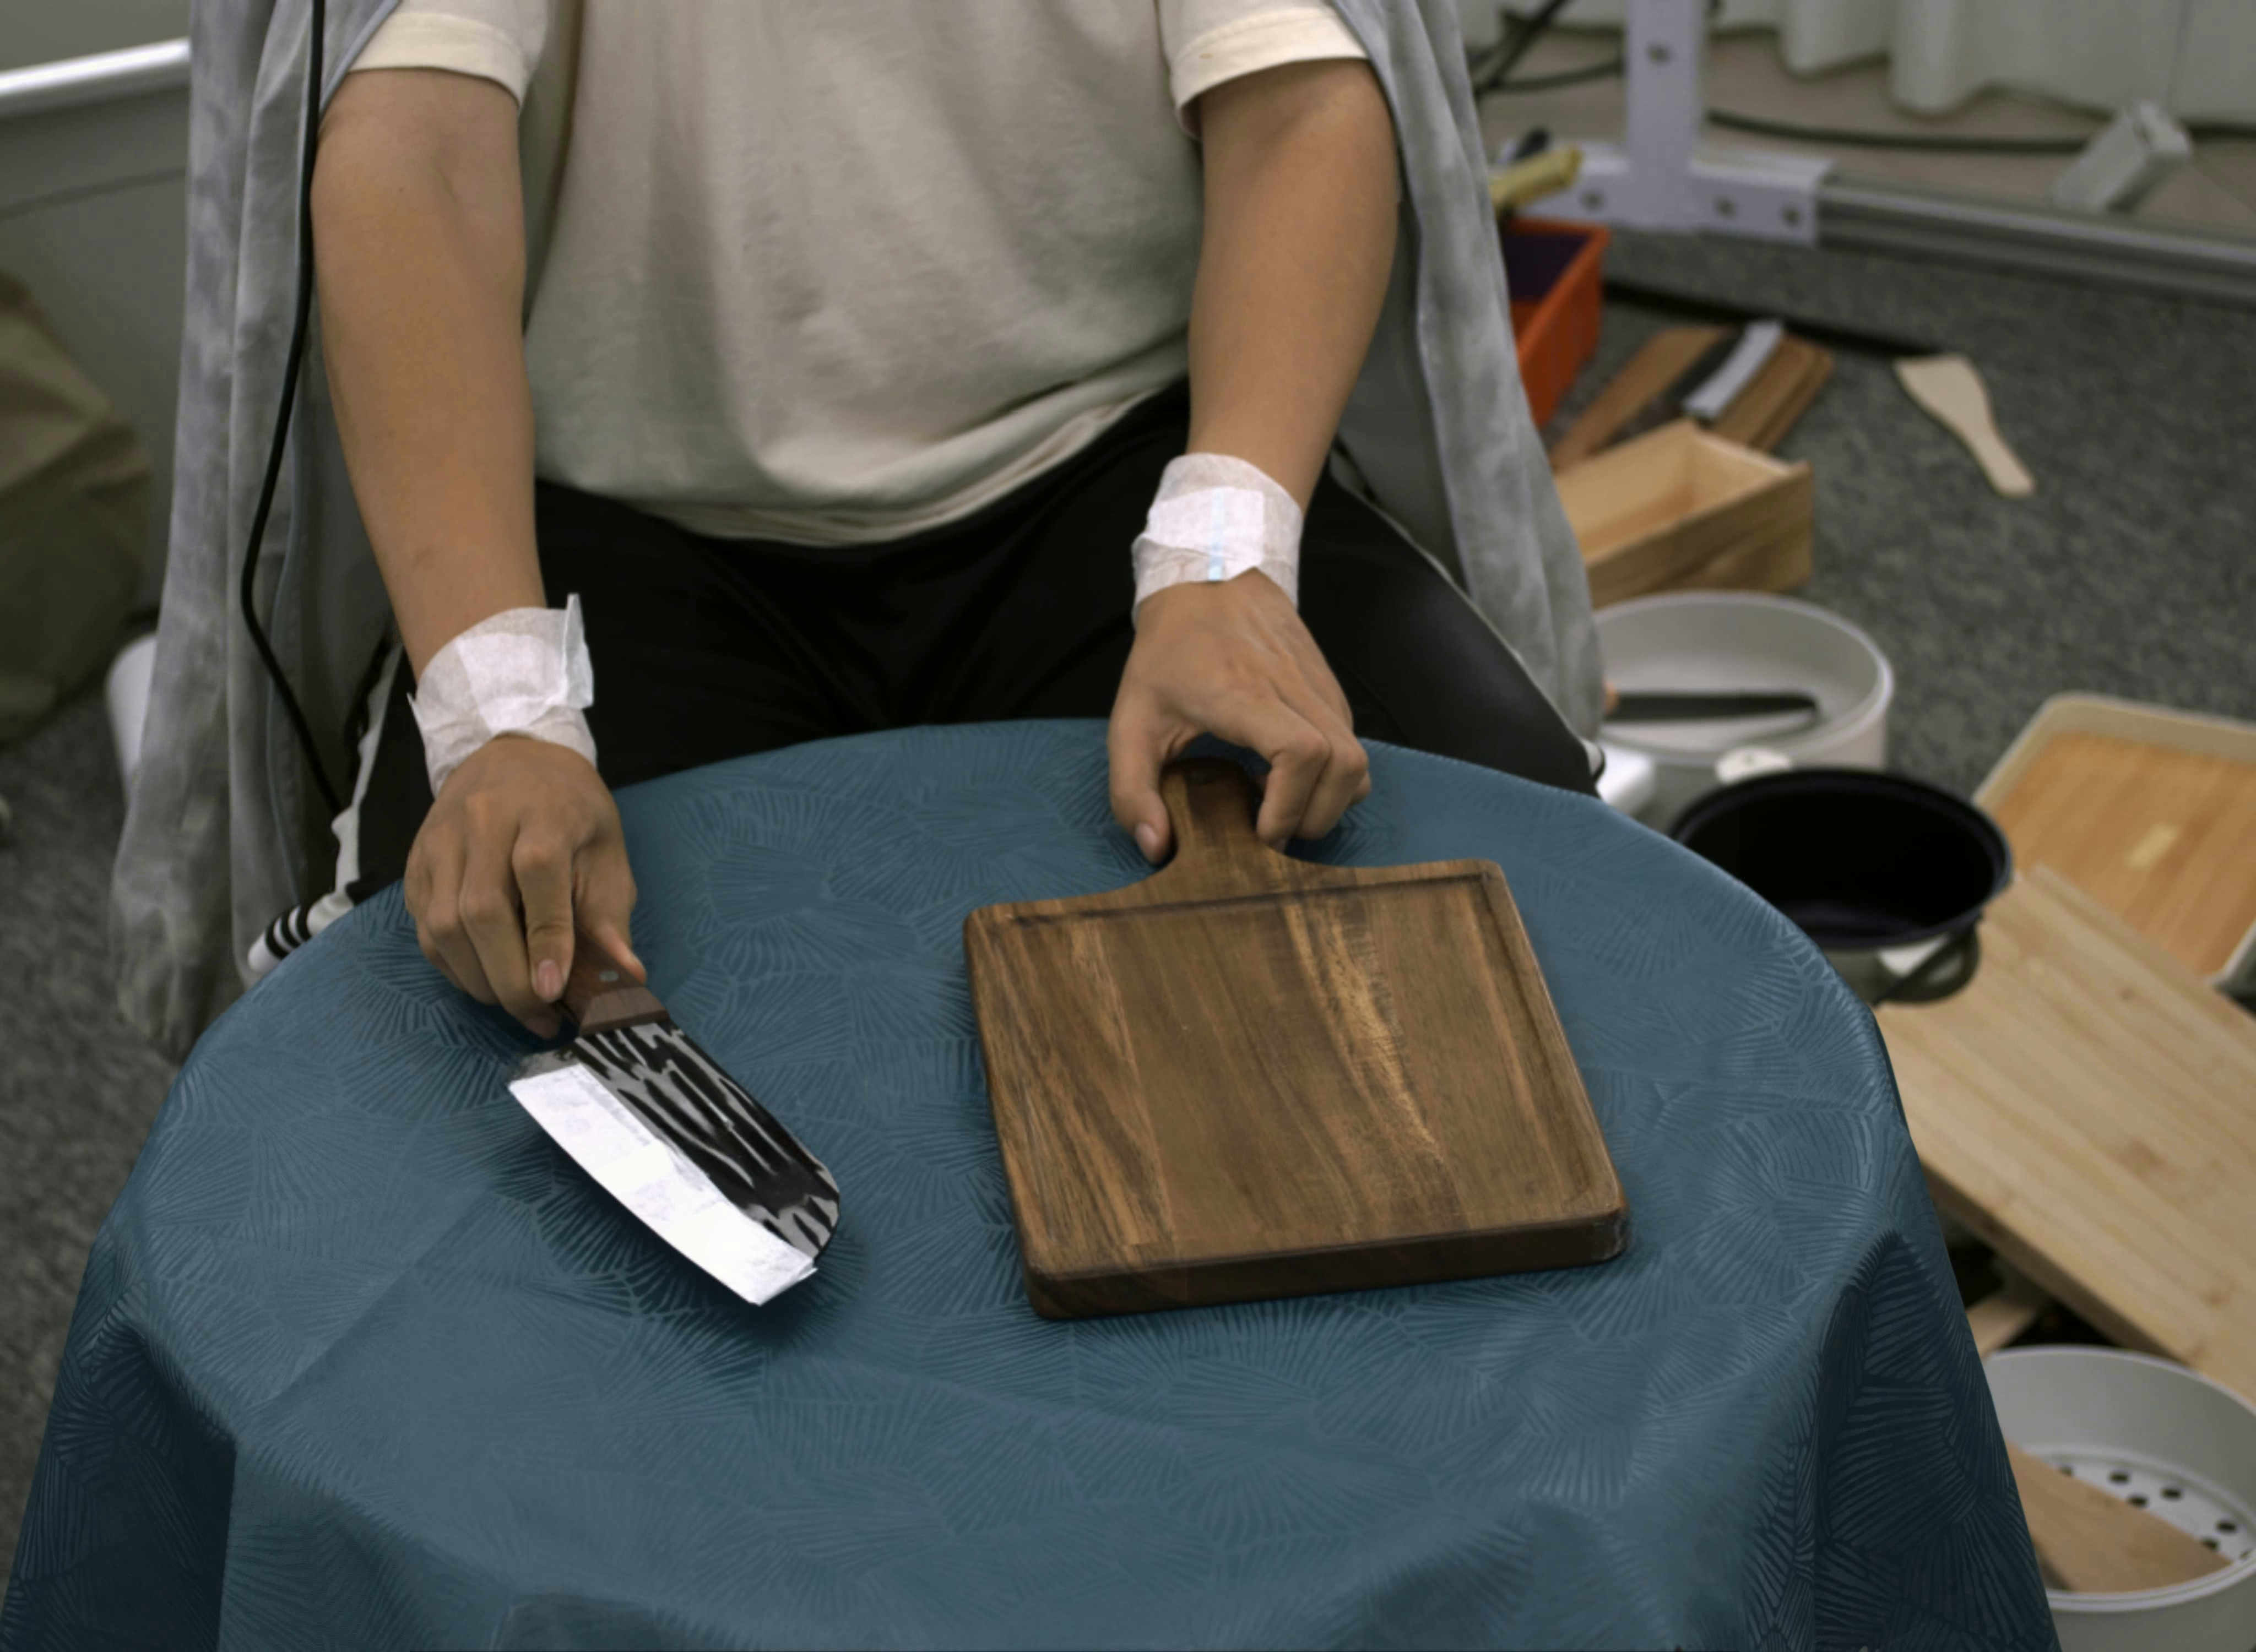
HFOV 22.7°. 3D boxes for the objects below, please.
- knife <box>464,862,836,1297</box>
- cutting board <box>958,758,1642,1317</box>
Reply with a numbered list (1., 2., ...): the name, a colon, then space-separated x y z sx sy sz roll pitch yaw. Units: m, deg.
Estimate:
1. knife: -0.173 0.085 1.897 0.068 0.024 0.301 -15 30 -25
2. cutting board: 0.046 0.062 1.949 0.200 0.023 0.356 -5 27 -5
